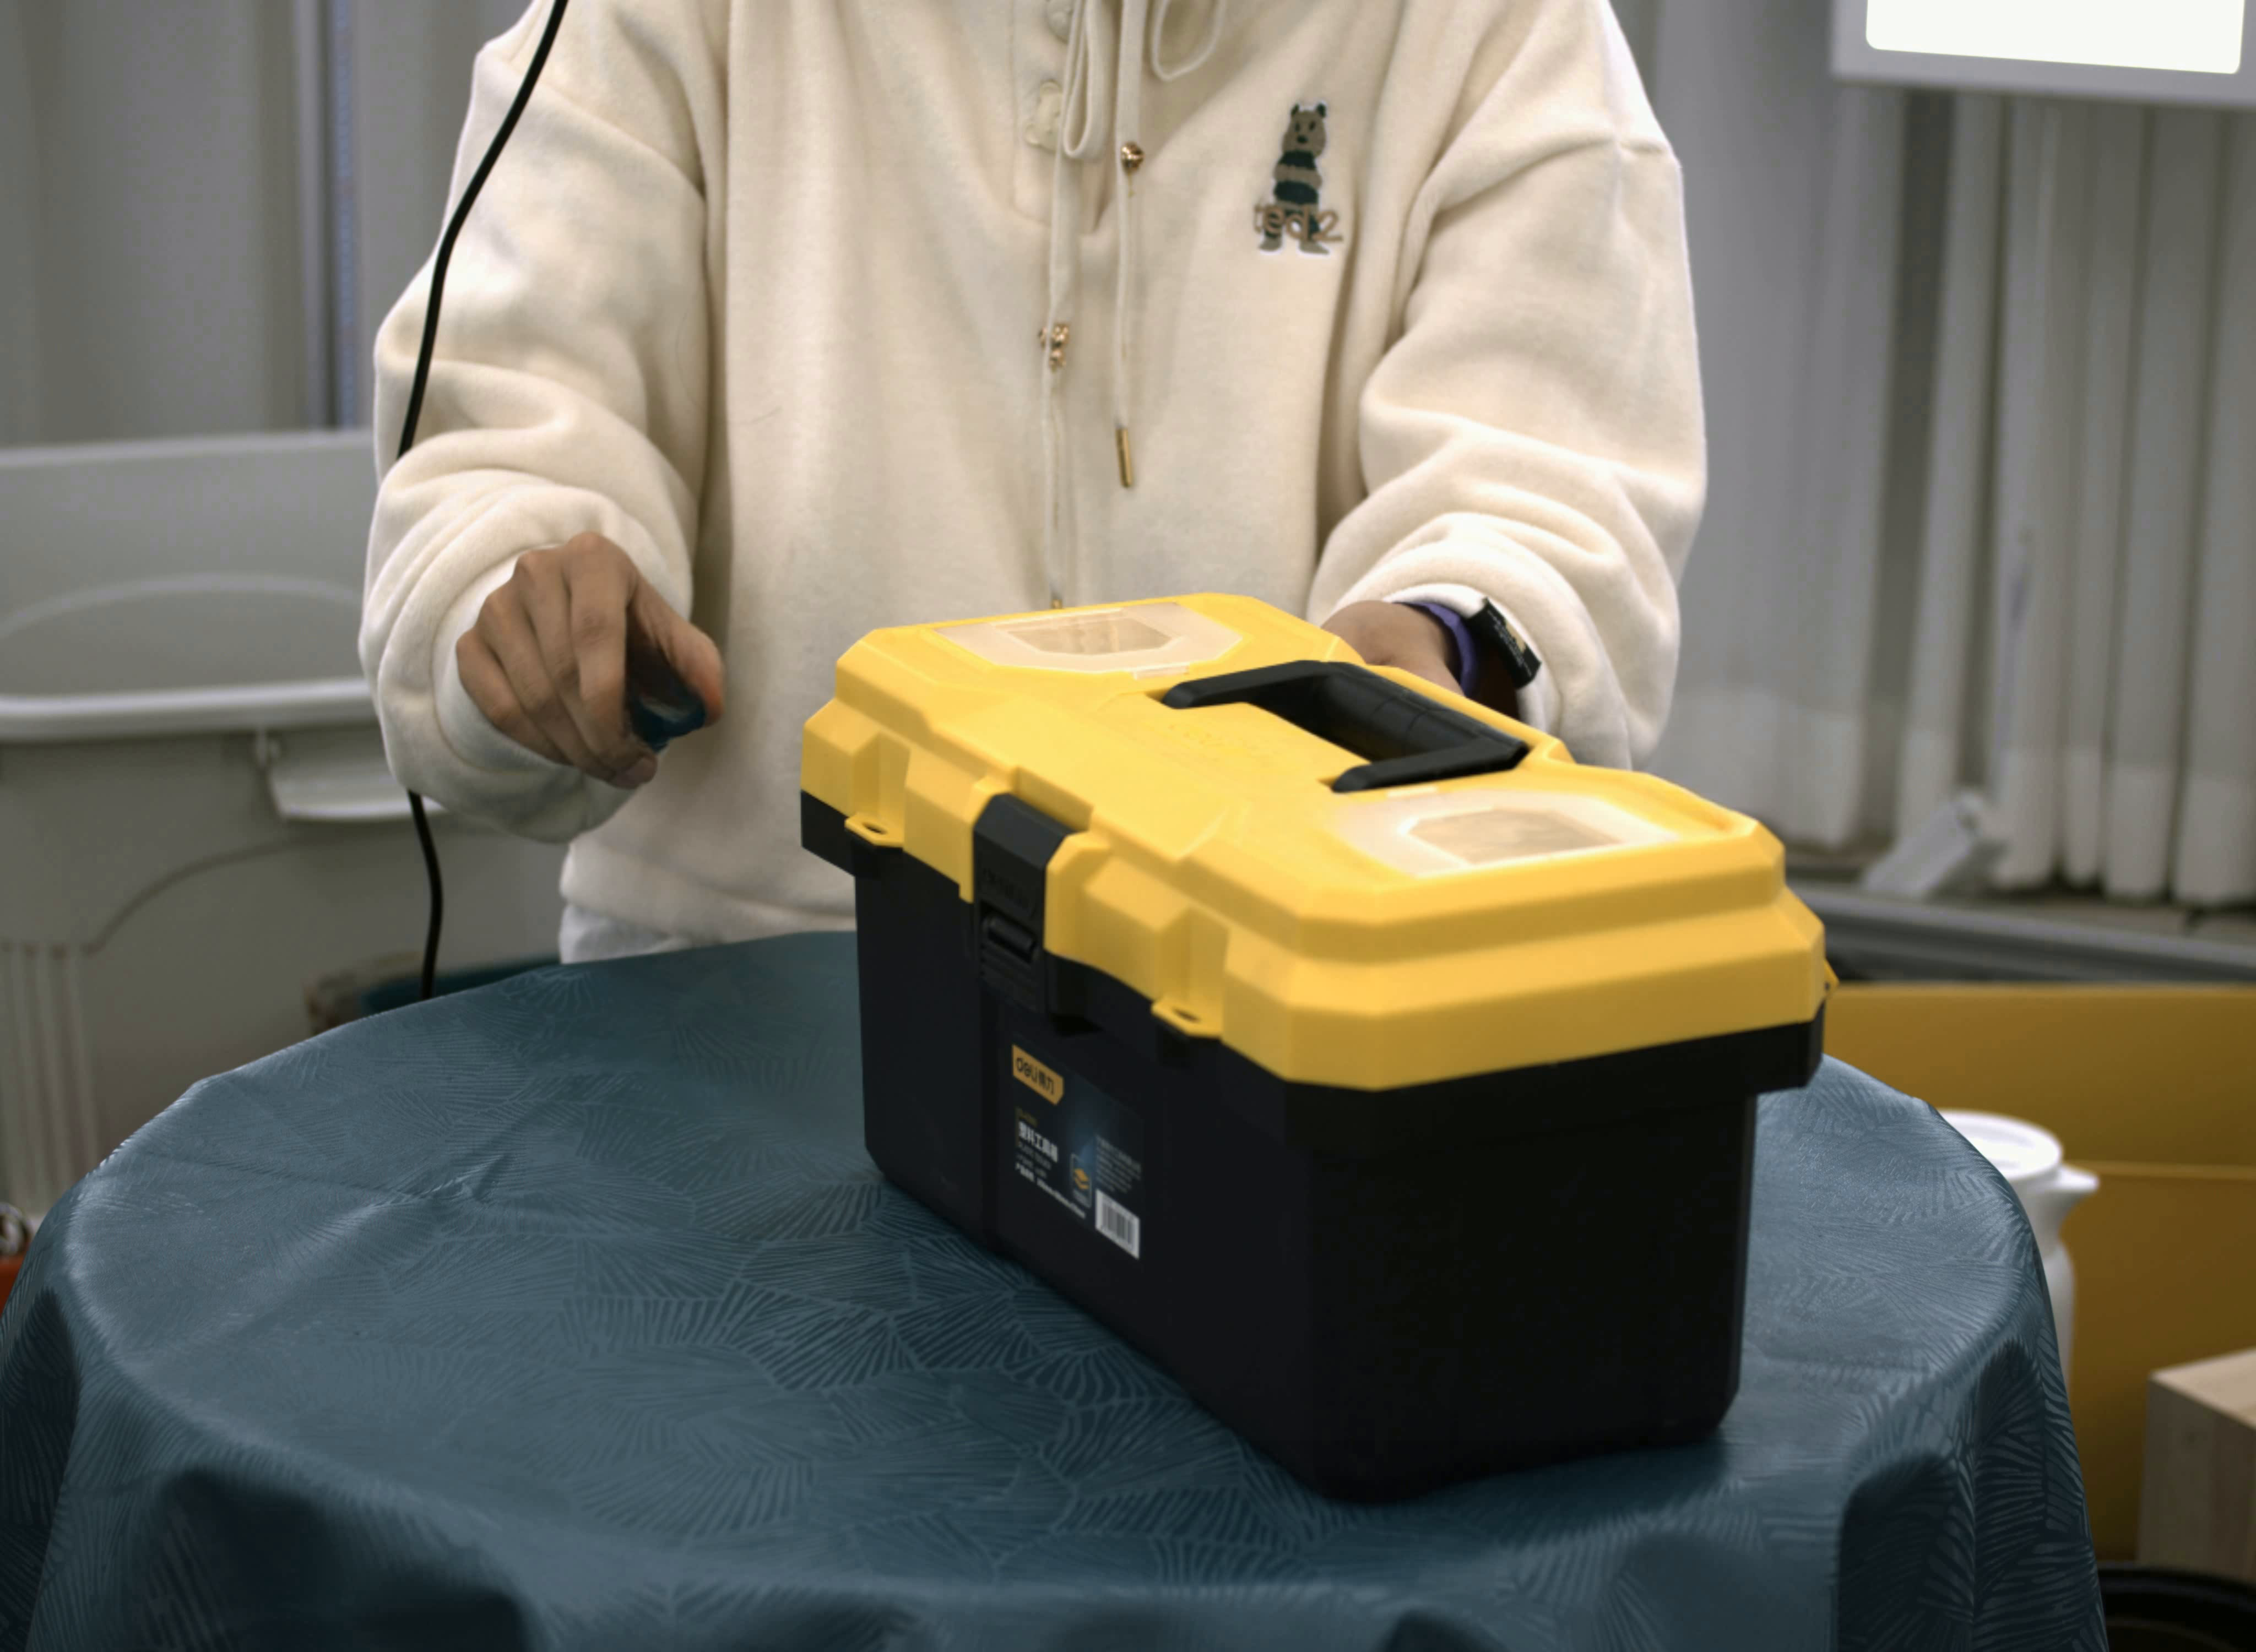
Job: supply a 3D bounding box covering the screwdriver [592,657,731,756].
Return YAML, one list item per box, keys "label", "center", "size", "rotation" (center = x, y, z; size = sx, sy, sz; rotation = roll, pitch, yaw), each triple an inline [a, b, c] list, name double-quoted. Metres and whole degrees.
- label: "screwdriver"
  center: [-0.145, -0.041, 1.689]
  size: [0.034, 0.034, 0.189]
  rotation: [-4, -1, -15]

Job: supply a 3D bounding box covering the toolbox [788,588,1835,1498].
- label: "toolbox"
  center: [0.043, 0.052, 1.512]
  size: [0.182, 0.174, 0.347]
  rotation: [-7, 17, -26]
